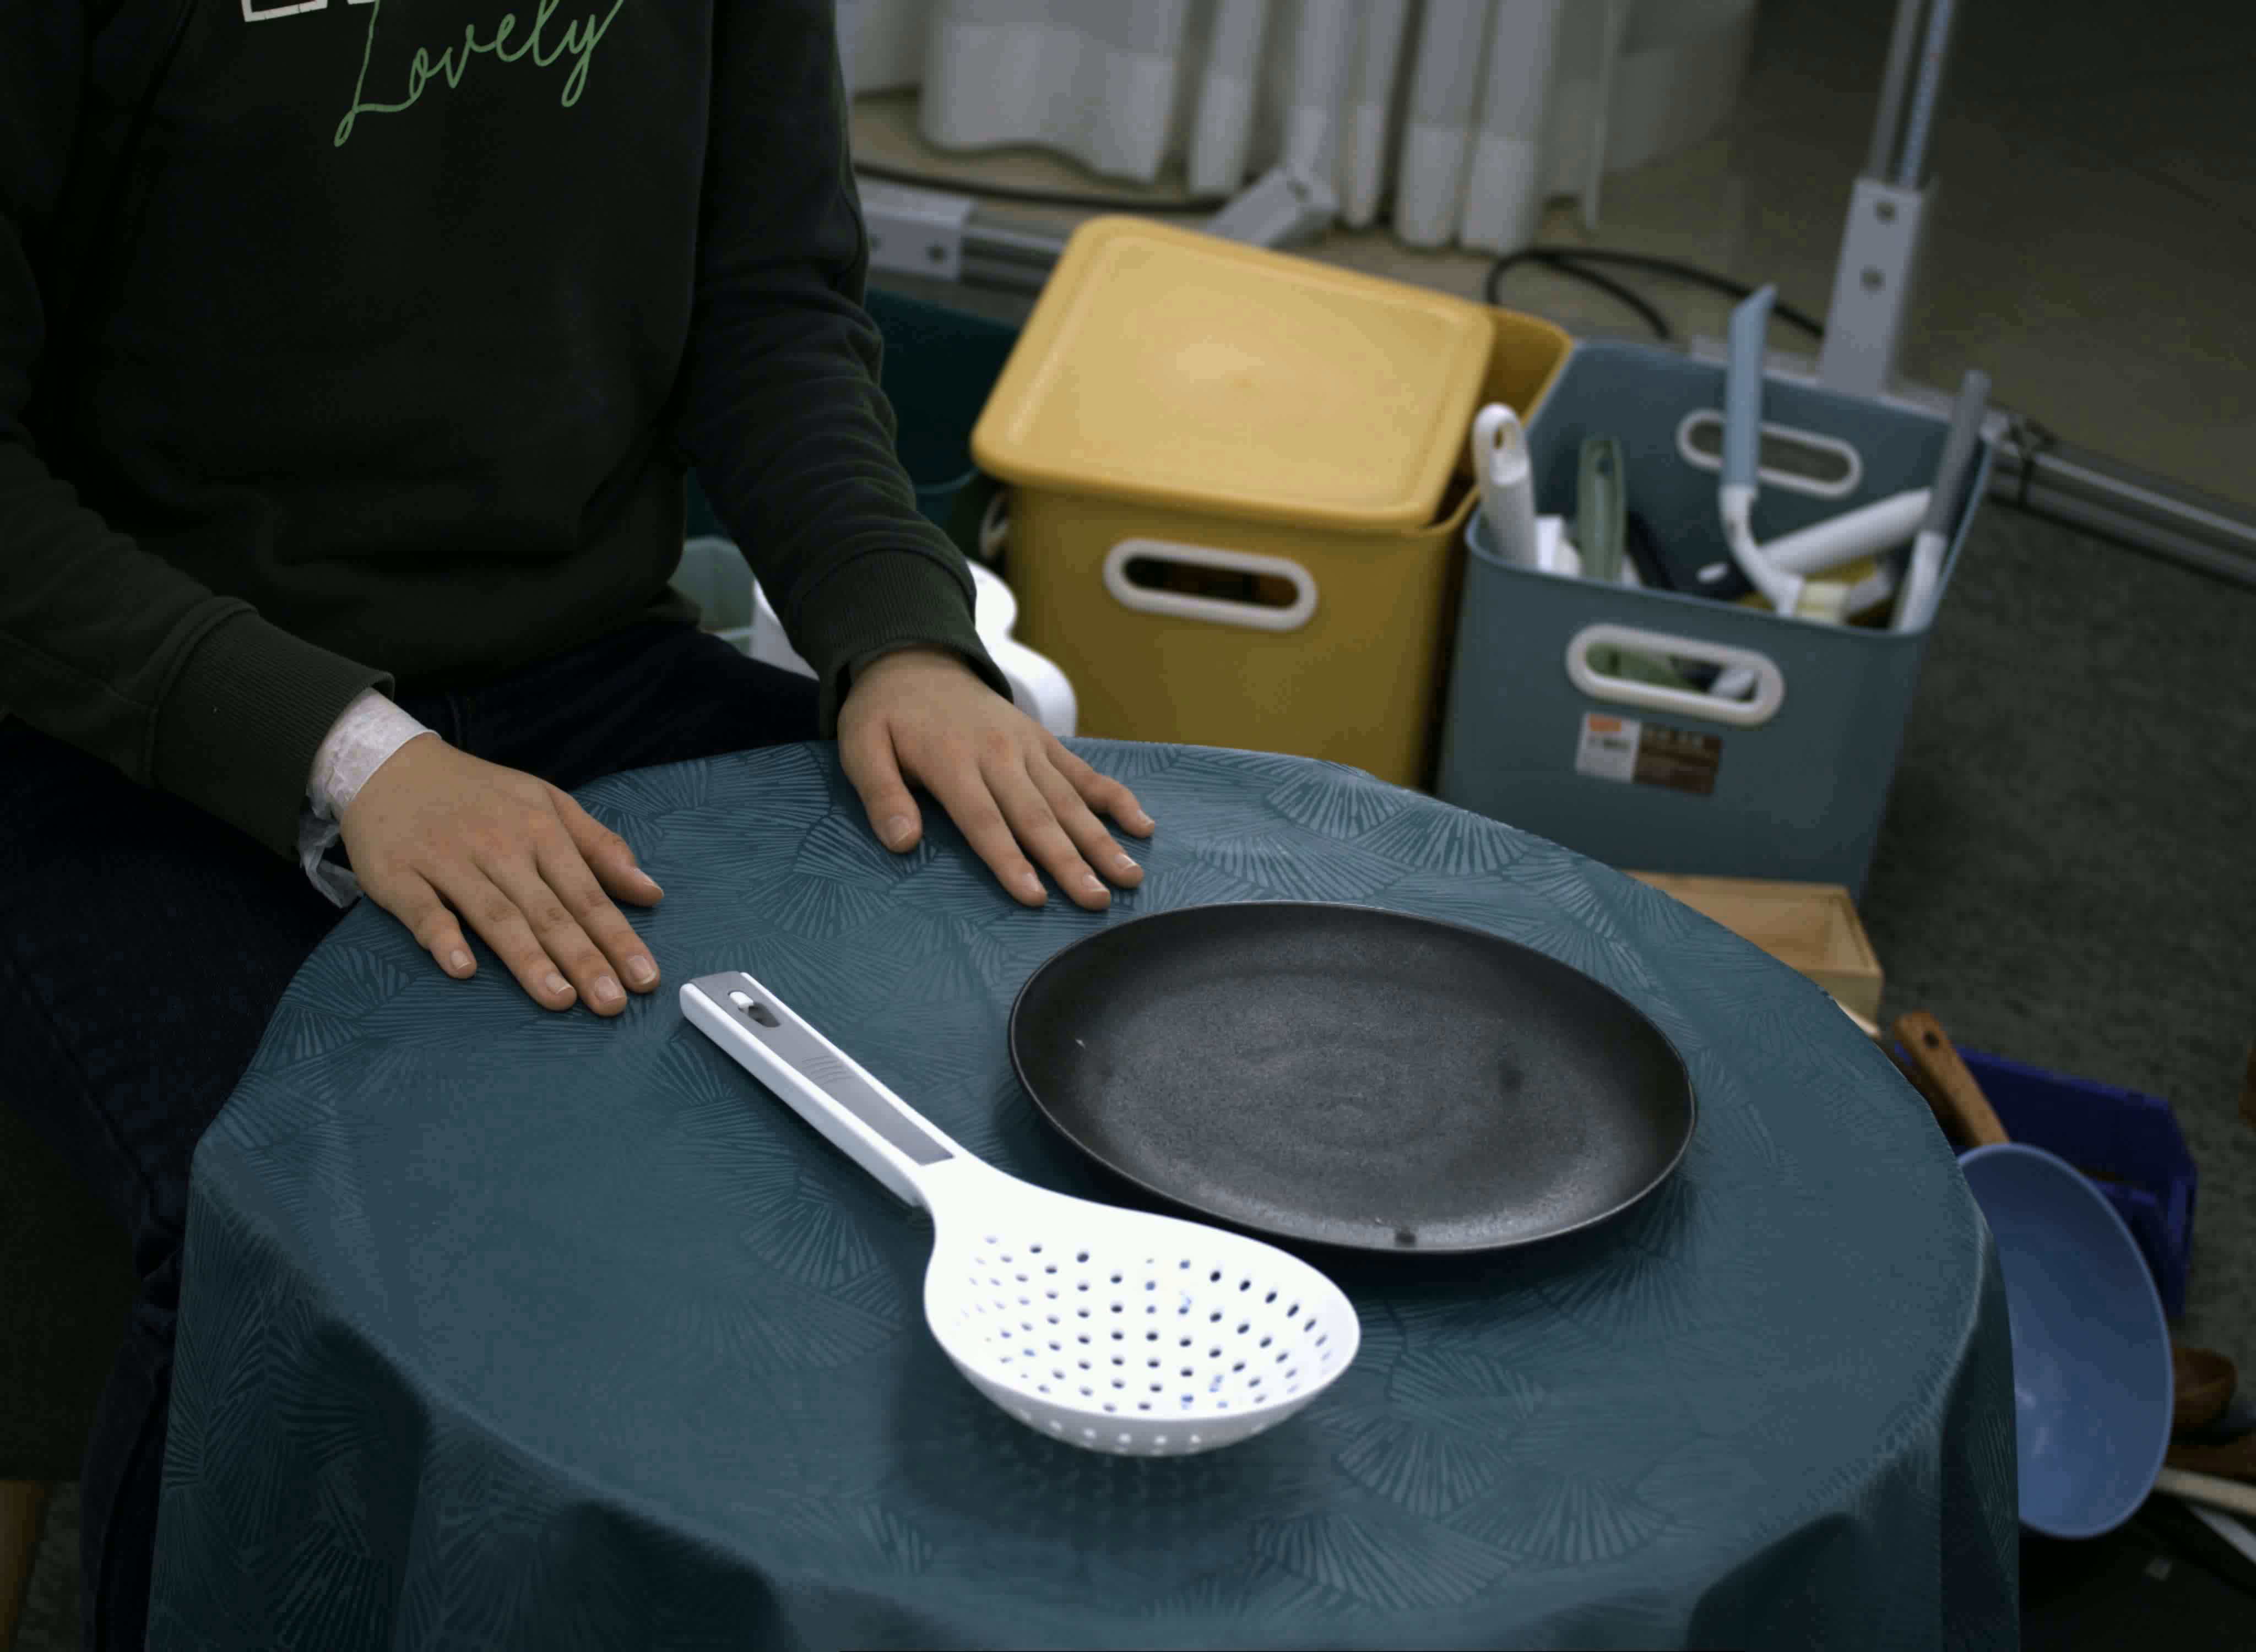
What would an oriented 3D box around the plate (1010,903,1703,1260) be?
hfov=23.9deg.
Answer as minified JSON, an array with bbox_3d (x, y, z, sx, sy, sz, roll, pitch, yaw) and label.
[{"bbox_3d":[0.079,0.093,1.854,0.243,0.023,0.246,5,27,-3],"label":"plate"}]

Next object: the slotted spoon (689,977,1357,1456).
[{"bbox_3d":[-0.054,0.121,1.742,0.135,0.045,0.353,-8,29,-31],"label":"slotted spoon"}]
